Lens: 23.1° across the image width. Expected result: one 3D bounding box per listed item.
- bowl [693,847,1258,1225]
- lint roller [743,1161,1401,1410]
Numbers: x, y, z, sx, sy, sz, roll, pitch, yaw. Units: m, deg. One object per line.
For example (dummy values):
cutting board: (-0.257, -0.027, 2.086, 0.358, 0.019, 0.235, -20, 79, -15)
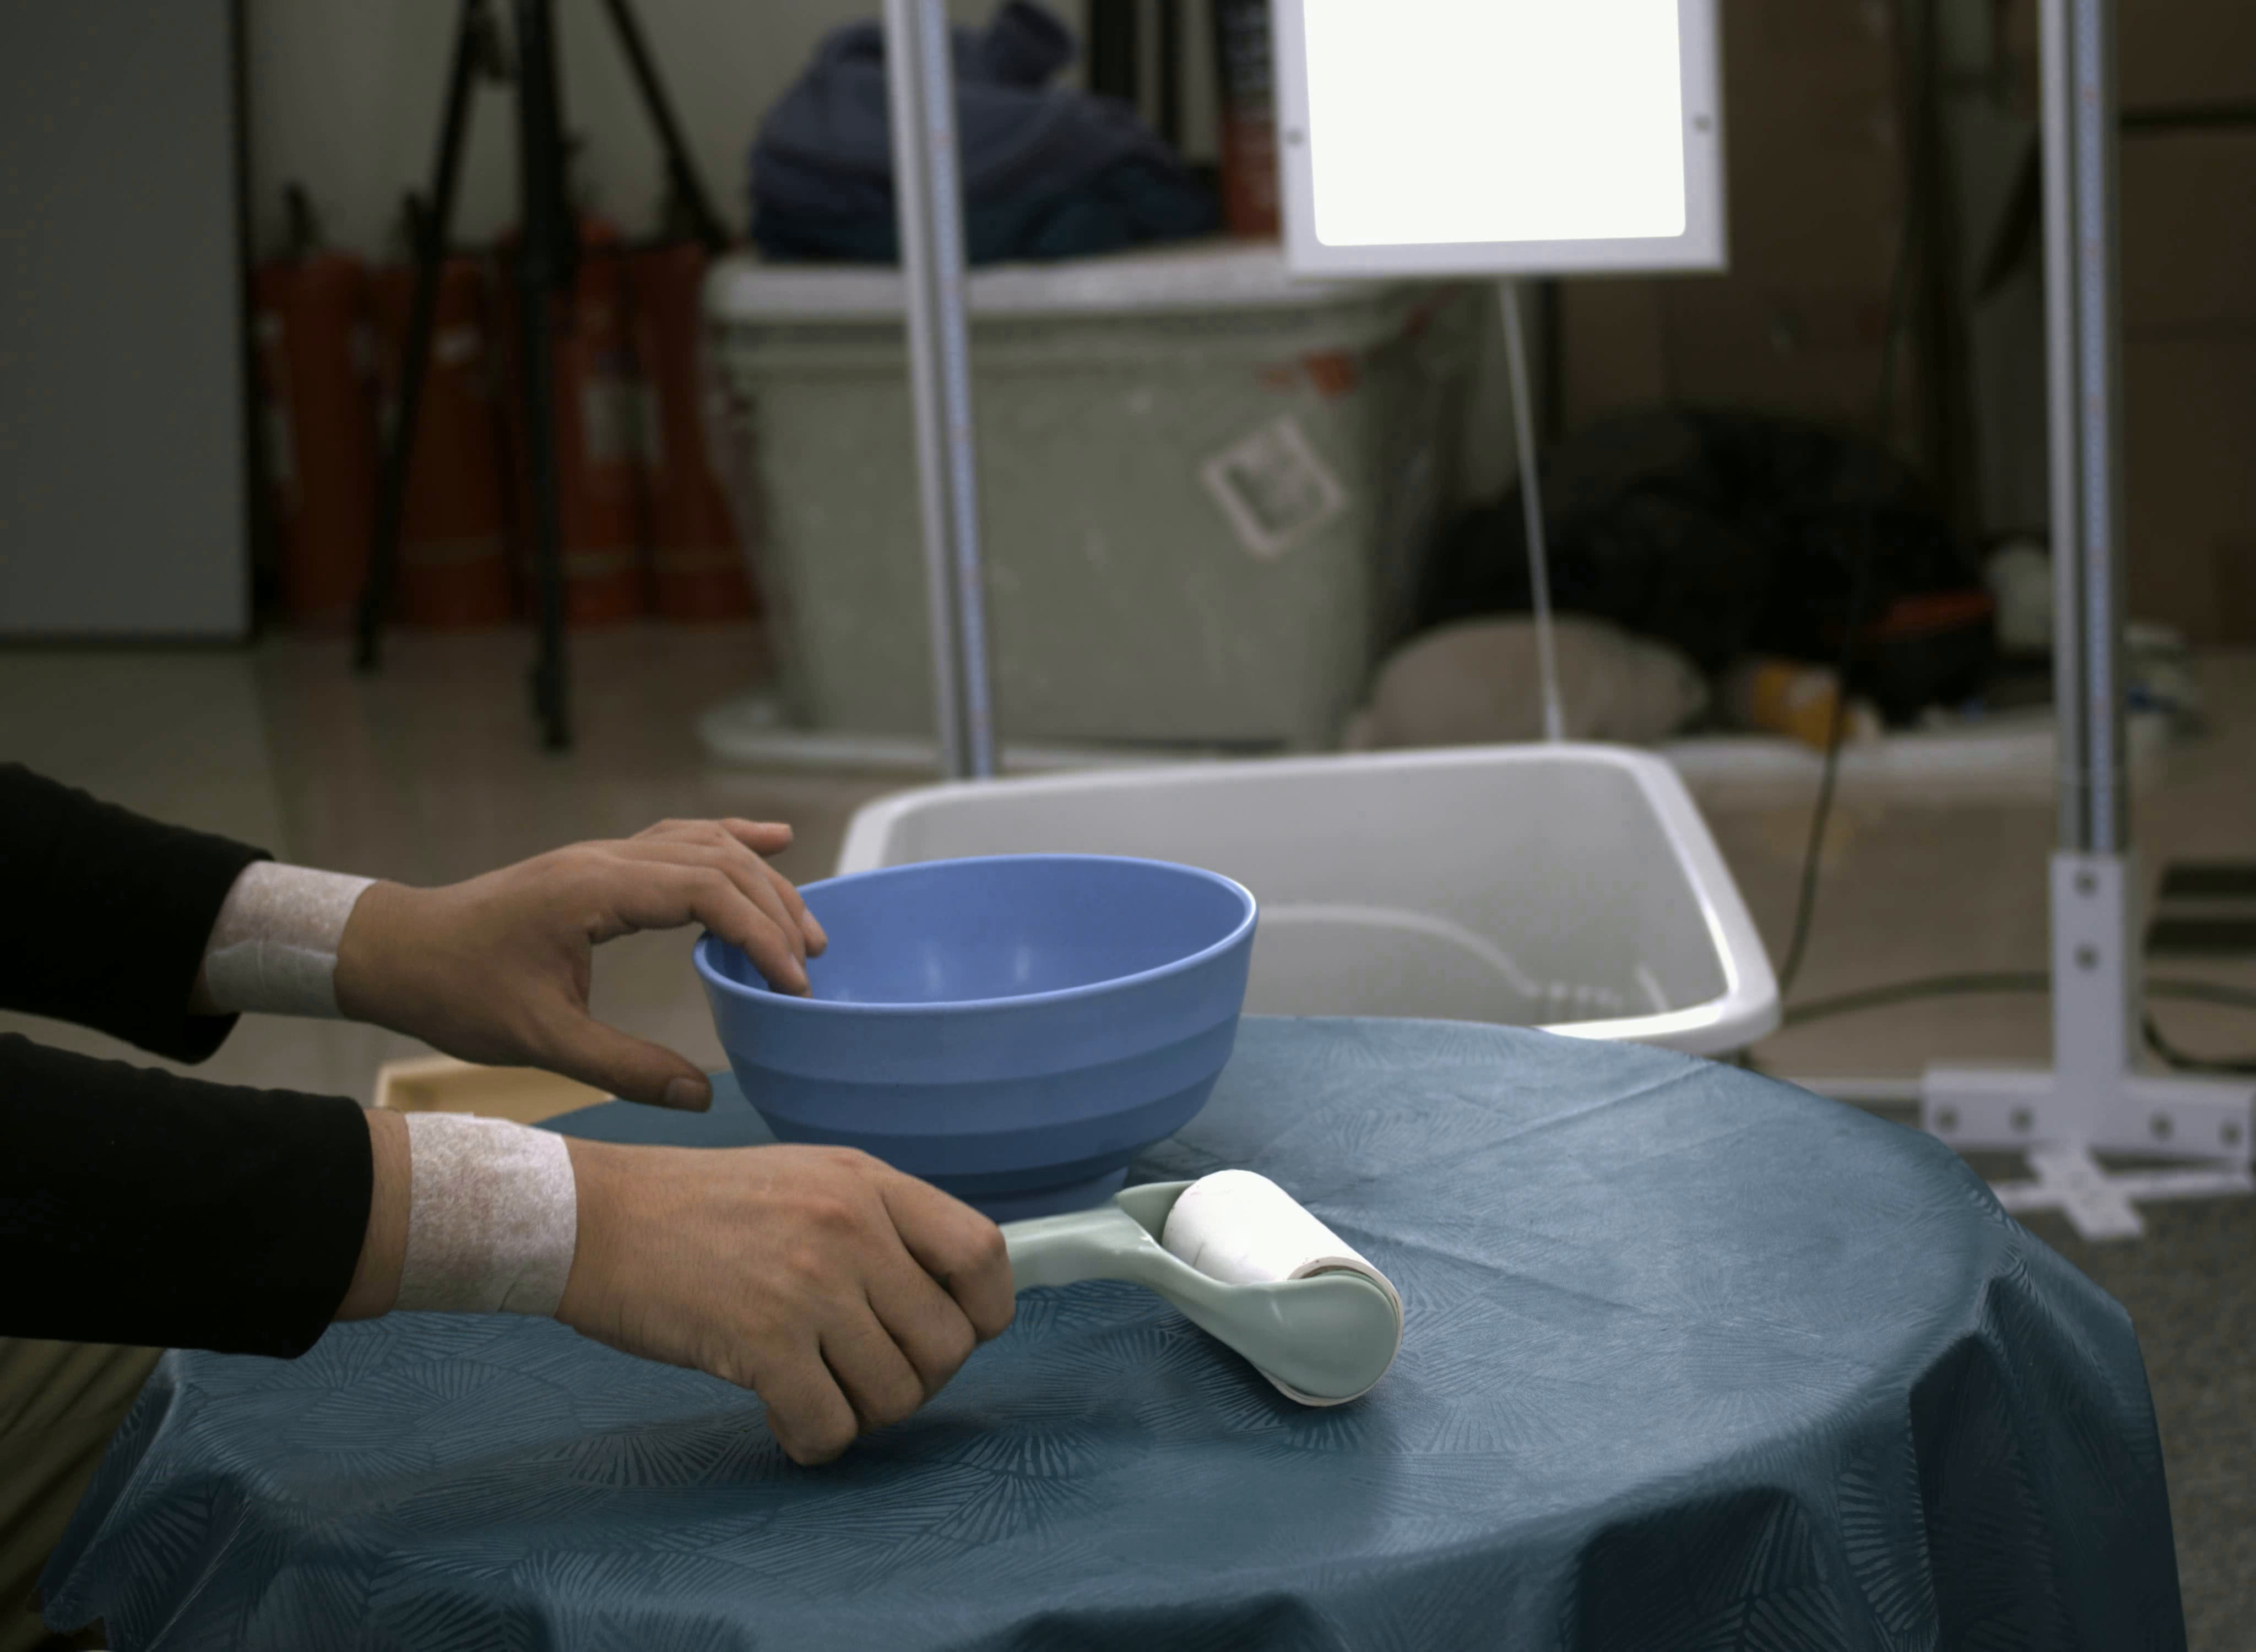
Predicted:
bowl: (-0.049, 0.079, 1.910, 0.196, 0.096, 0.196, -5, 15, 0)
lint roller: (-0.024, 0.145, 1.701, 0.194, 0.049, 0.118, -4, 14, -16)
